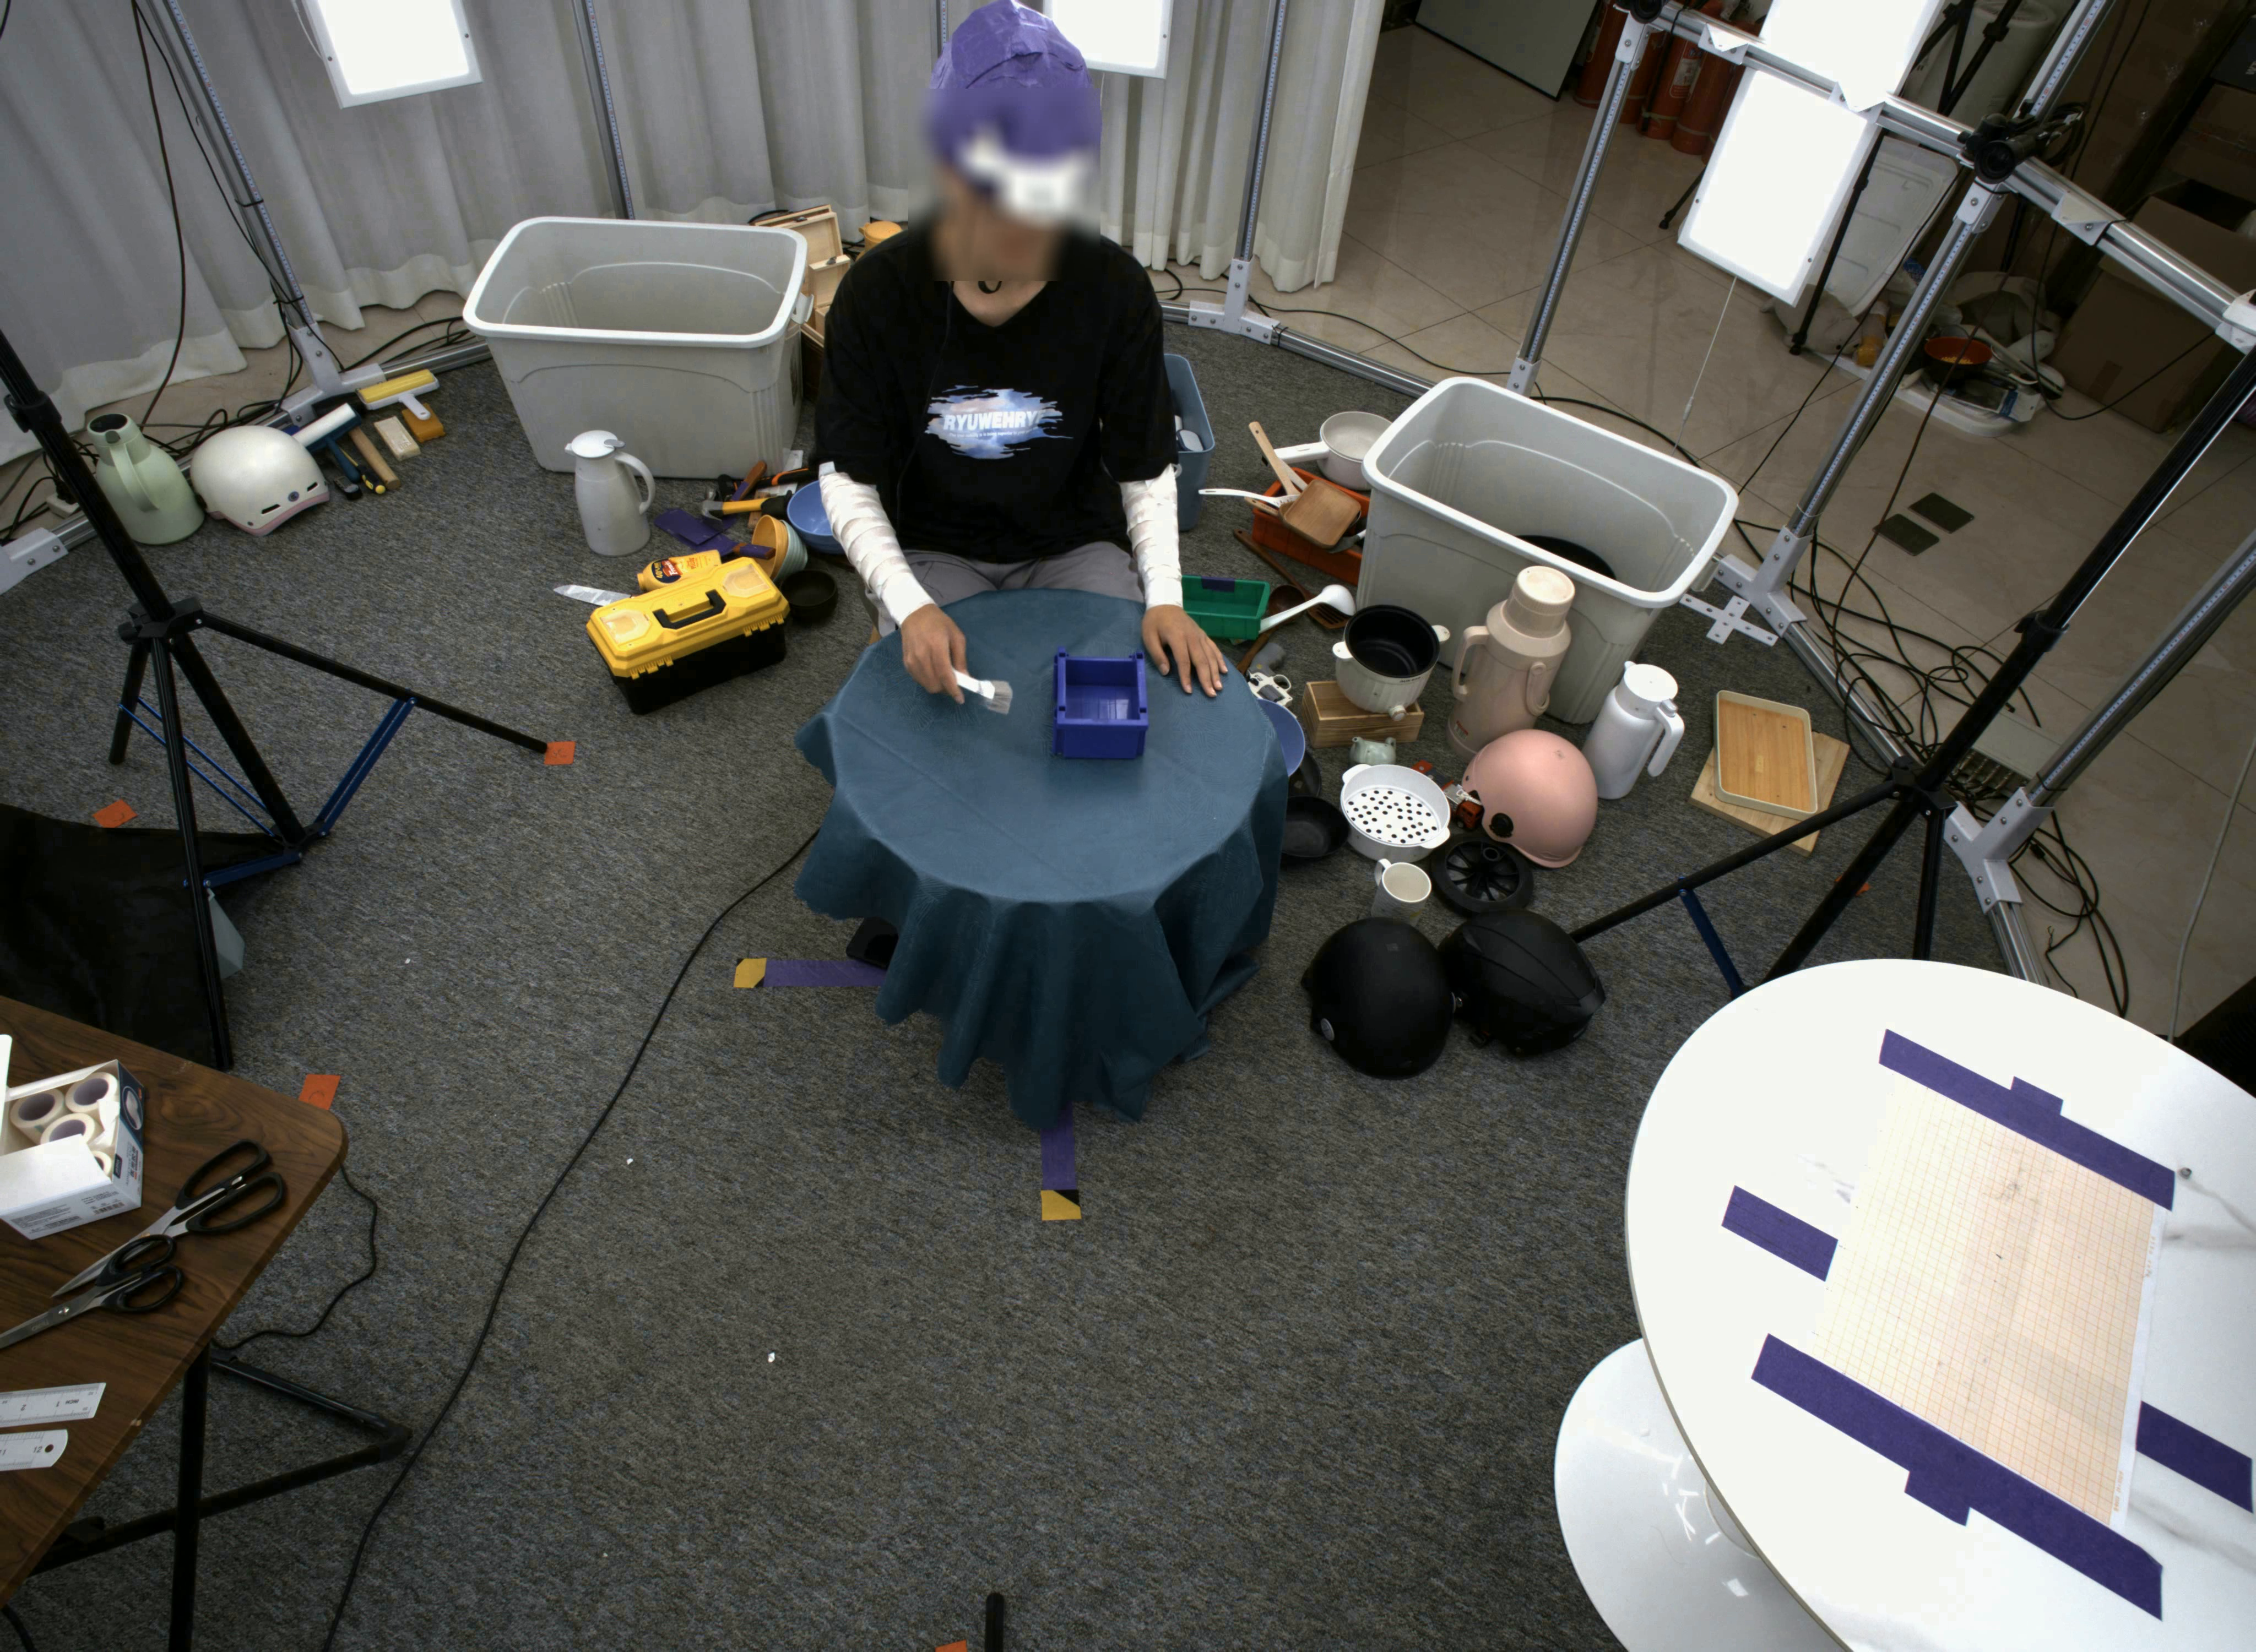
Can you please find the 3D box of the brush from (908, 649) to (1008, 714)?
[{"bbox_3d":[-0.229,-0.199,1.743,0.050,0.034,0.247,5,17,-36],"label":"brush"}]

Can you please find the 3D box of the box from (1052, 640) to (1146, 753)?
[{"bbox_3d":[-0.040,-0.186,1.779,0.124,0.080,0.184,2,51,-2],"label":"box"}]
